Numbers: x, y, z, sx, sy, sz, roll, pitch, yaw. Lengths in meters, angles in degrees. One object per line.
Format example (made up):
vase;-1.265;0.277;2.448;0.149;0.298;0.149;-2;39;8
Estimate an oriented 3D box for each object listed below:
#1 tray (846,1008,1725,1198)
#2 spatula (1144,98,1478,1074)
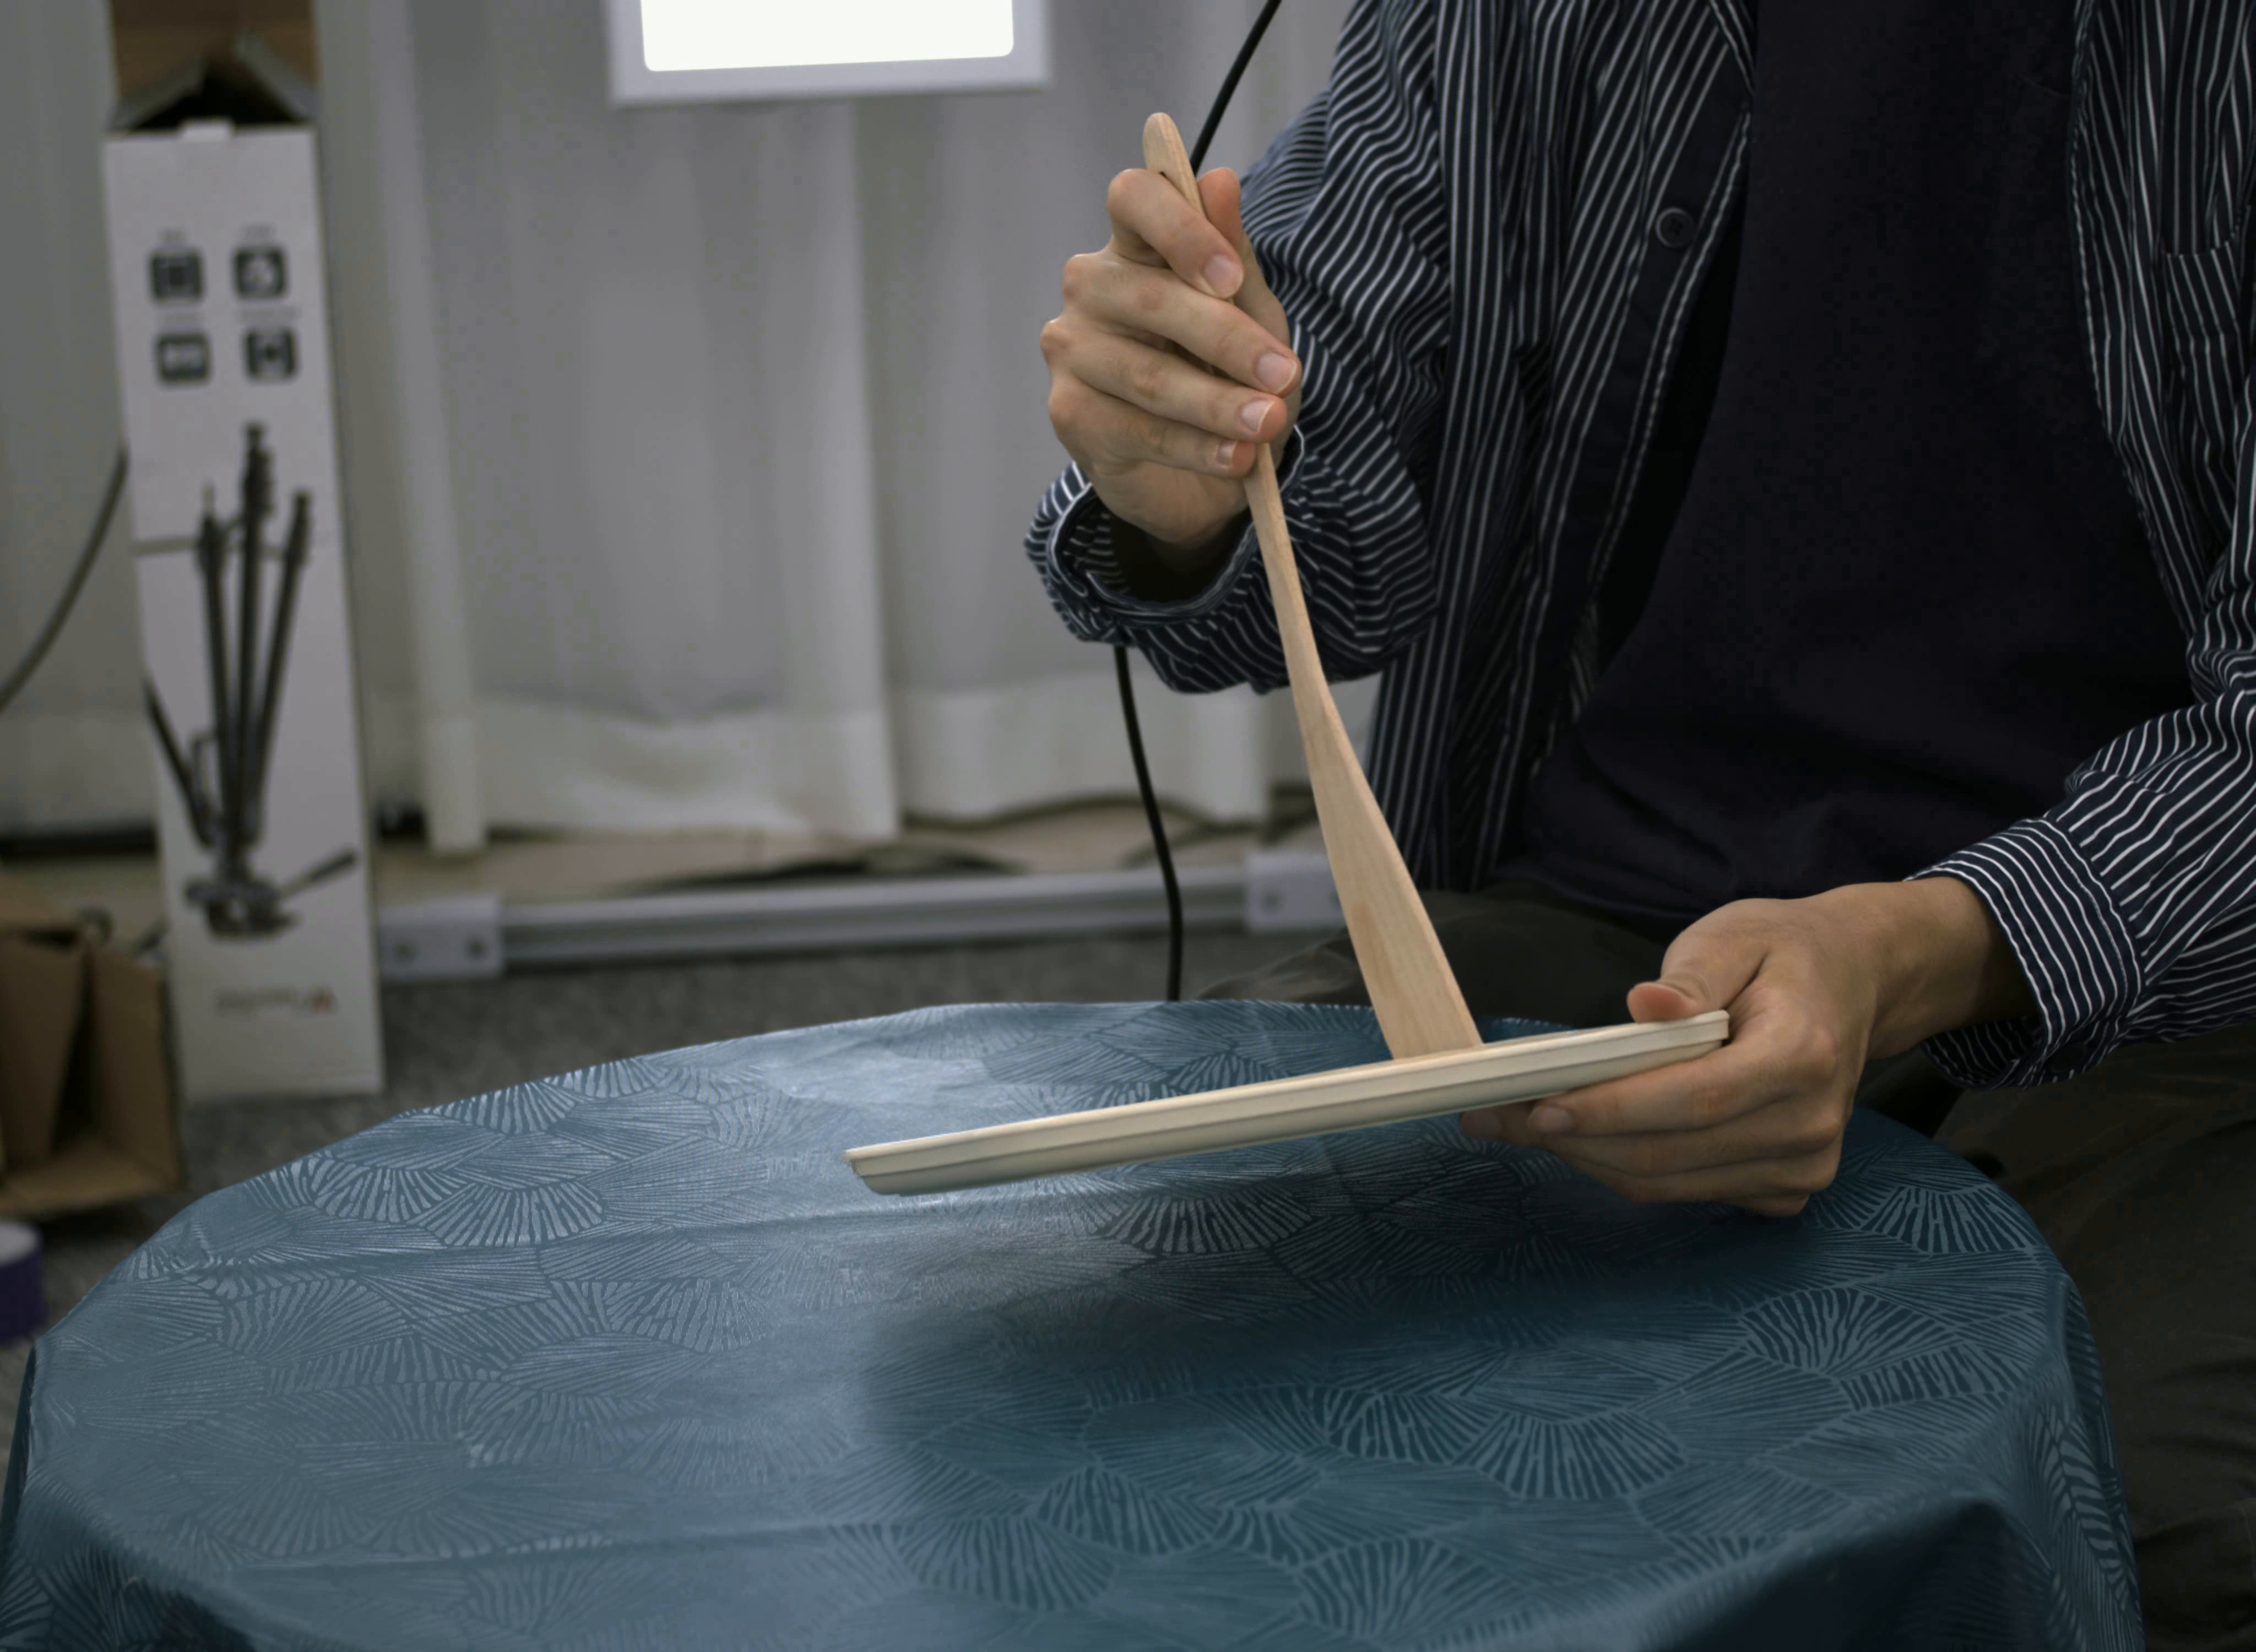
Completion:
tray;0.047;0.084;1.628;0.238;0.017;0.171;-8;-3;-22
spatula;0.052;-0.071;1.691;0.016;0.330;0.079;-11;-12;-16
